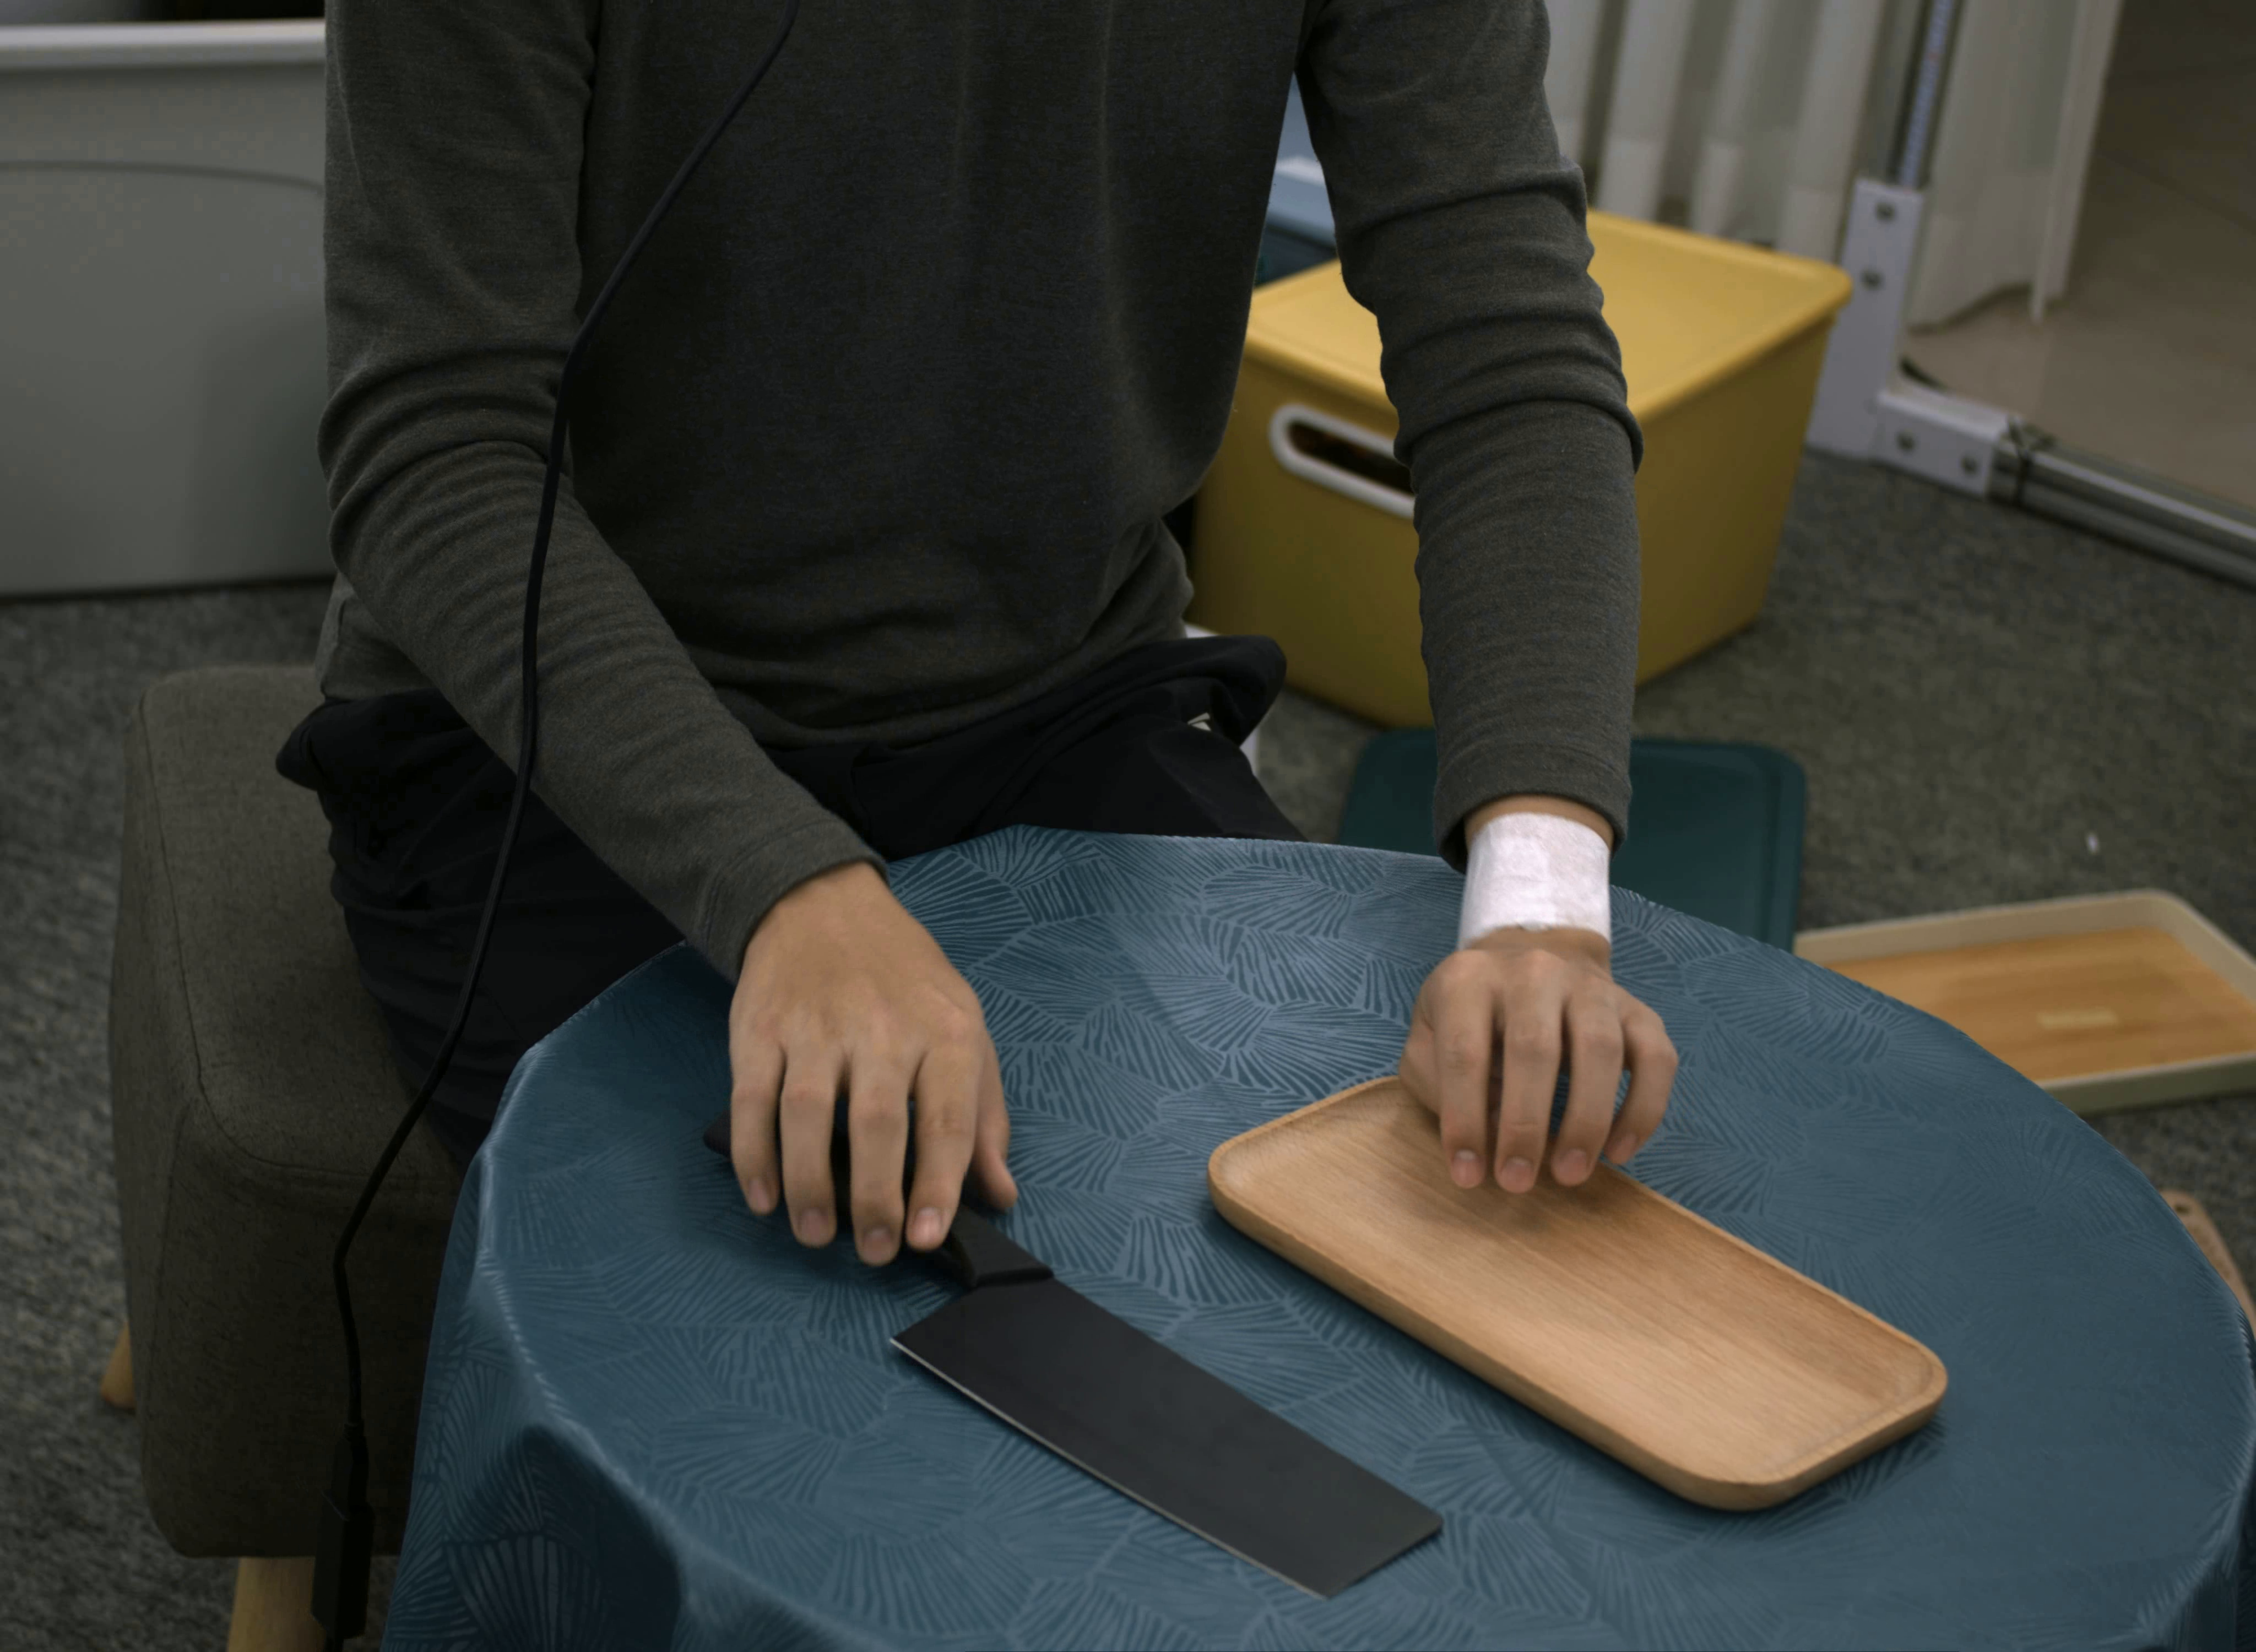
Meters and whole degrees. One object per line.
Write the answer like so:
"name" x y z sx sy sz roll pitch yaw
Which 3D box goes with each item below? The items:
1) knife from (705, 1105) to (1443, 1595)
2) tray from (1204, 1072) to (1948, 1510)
"knife" -0.029 0.164 1.705 0.080 0.021 0.305 -21 39 -39
"tray" 0.145 0.152 1.766 0.130 0.023 0.252 -16 33 -42
